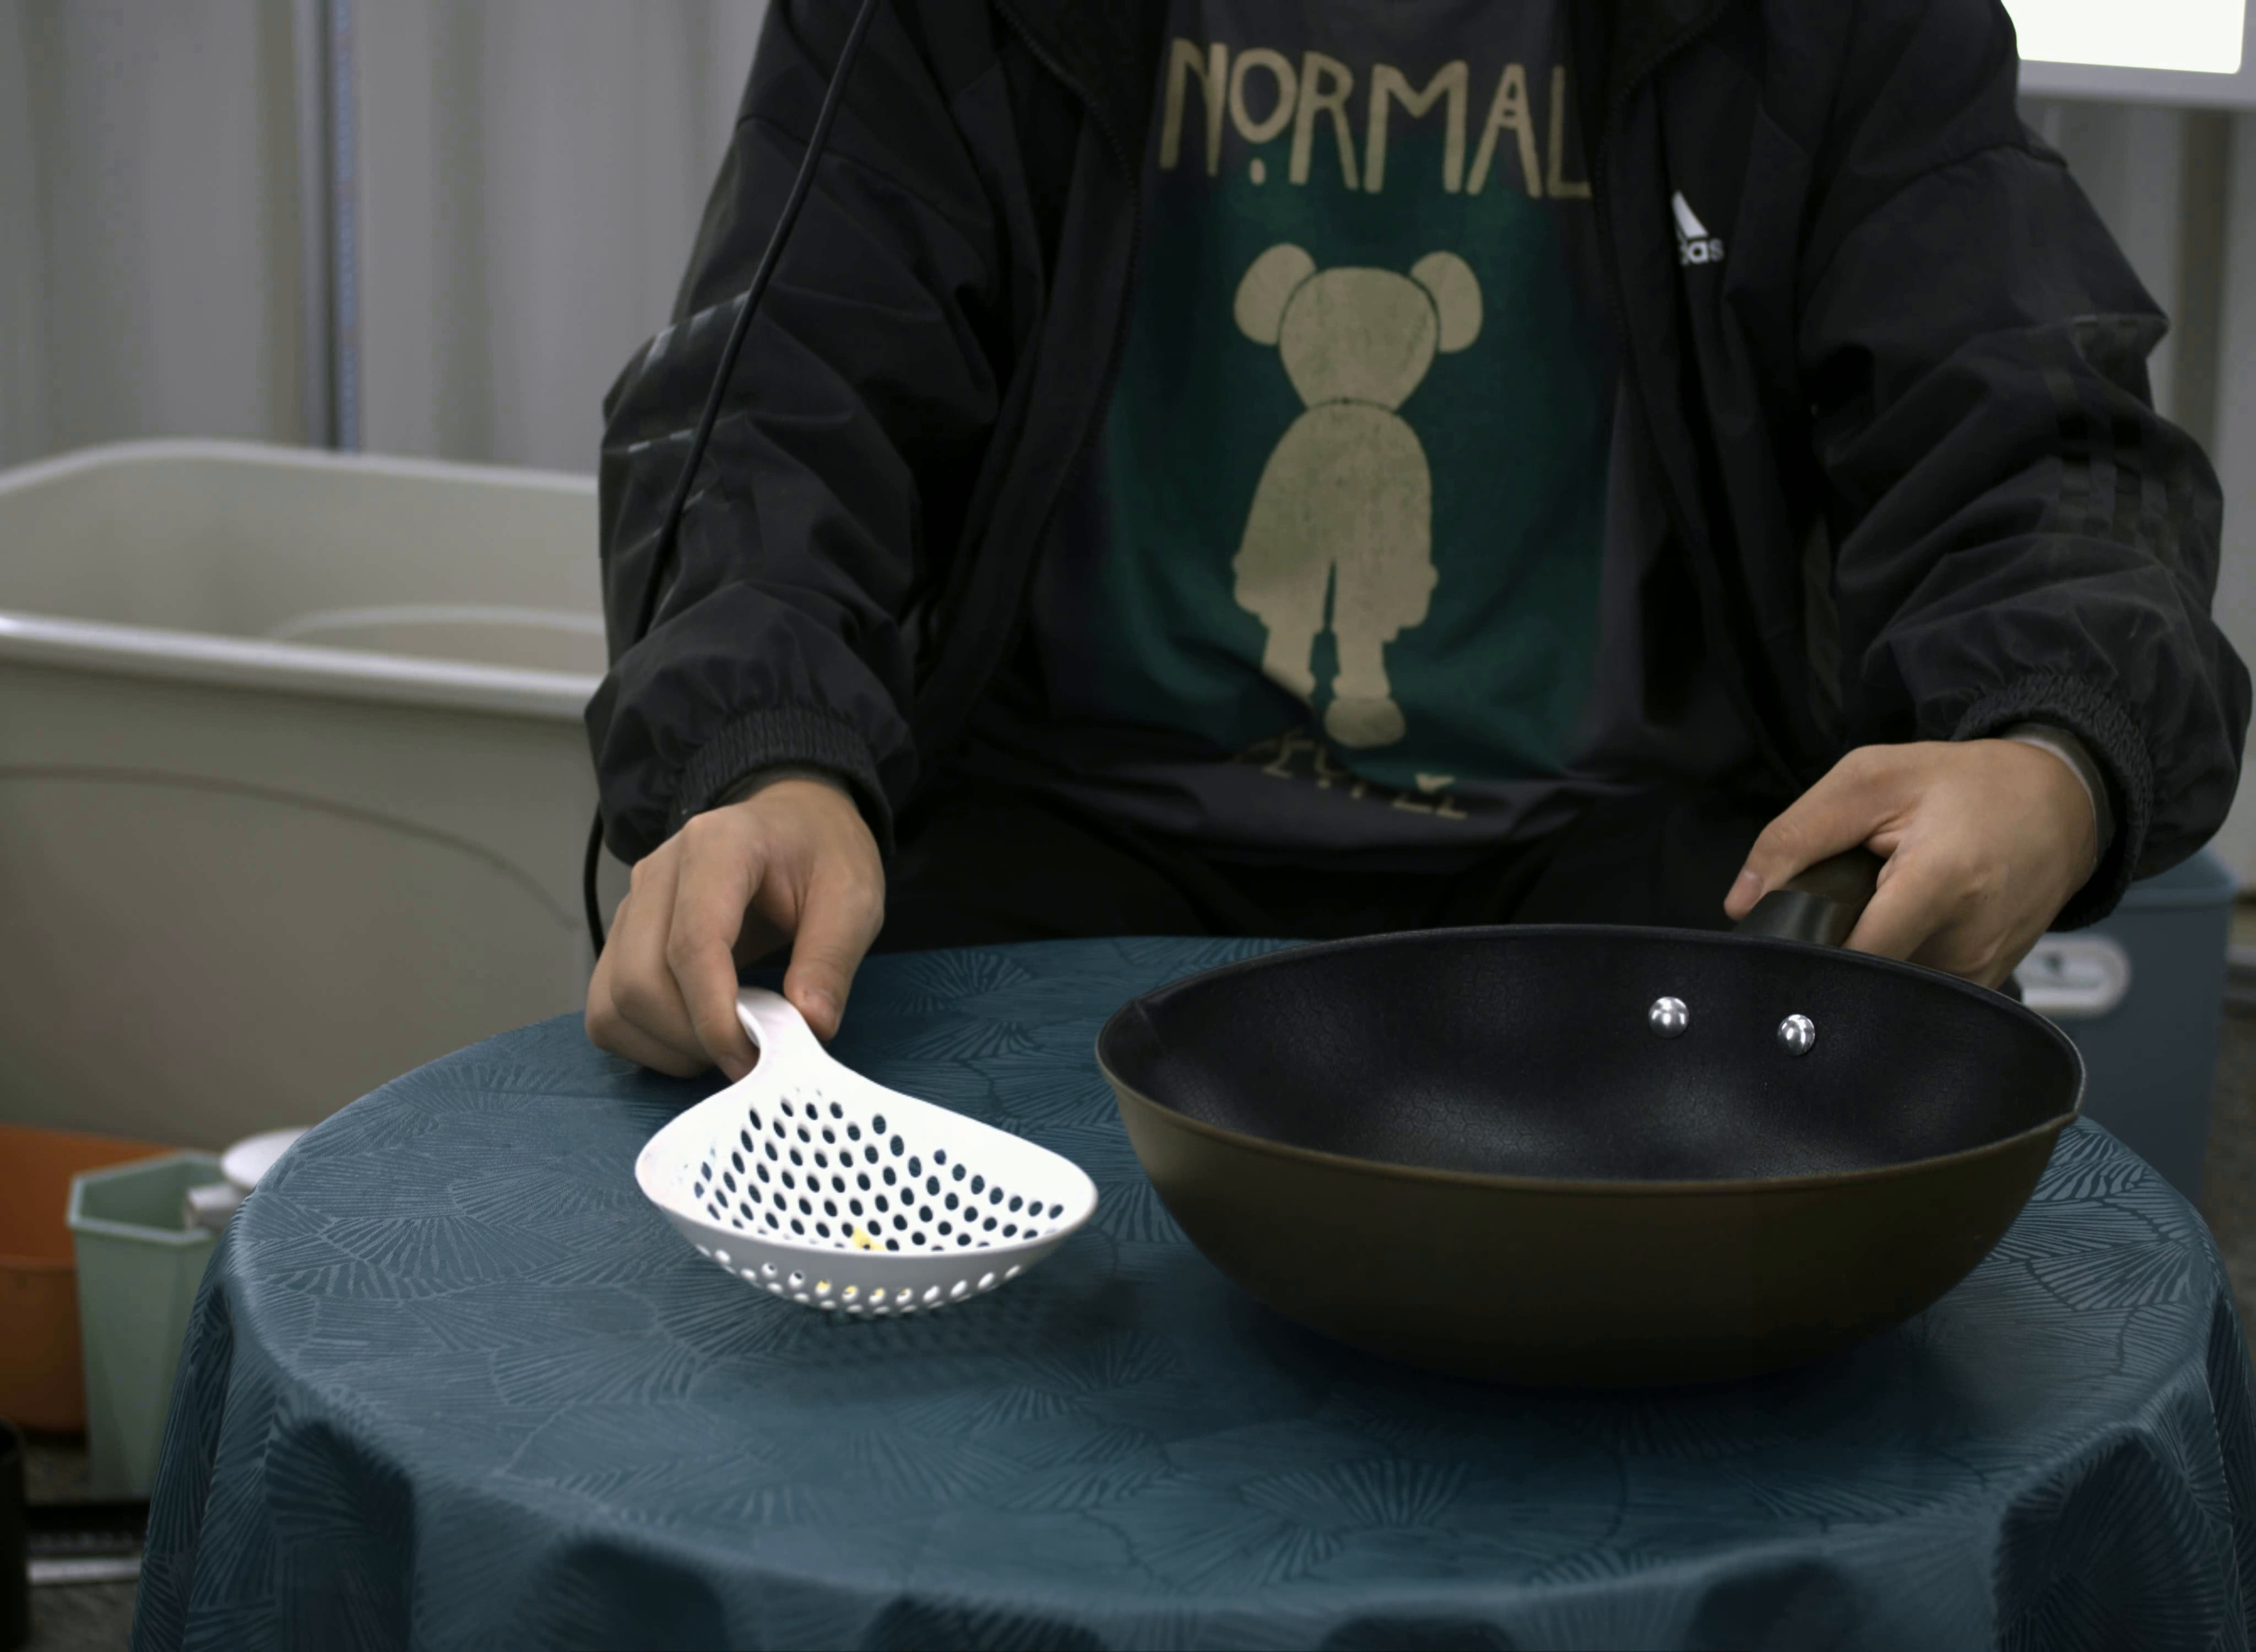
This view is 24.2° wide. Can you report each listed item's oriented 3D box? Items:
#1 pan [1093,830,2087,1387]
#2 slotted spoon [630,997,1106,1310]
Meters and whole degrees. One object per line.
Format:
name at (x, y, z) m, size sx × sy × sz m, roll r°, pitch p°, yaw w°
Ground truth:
pan at (0.169, 0.080, 1.592) m, size 0.285 × 0.087 × 0.465 m, roll 7°, pitch 14°, yaw 24°
slotted spoon at (-0.101, 0.087, 1.626) m, size 0.137 × 0.051 × 0.344 m, roll -1°, pitch 17°, yaw -14°
